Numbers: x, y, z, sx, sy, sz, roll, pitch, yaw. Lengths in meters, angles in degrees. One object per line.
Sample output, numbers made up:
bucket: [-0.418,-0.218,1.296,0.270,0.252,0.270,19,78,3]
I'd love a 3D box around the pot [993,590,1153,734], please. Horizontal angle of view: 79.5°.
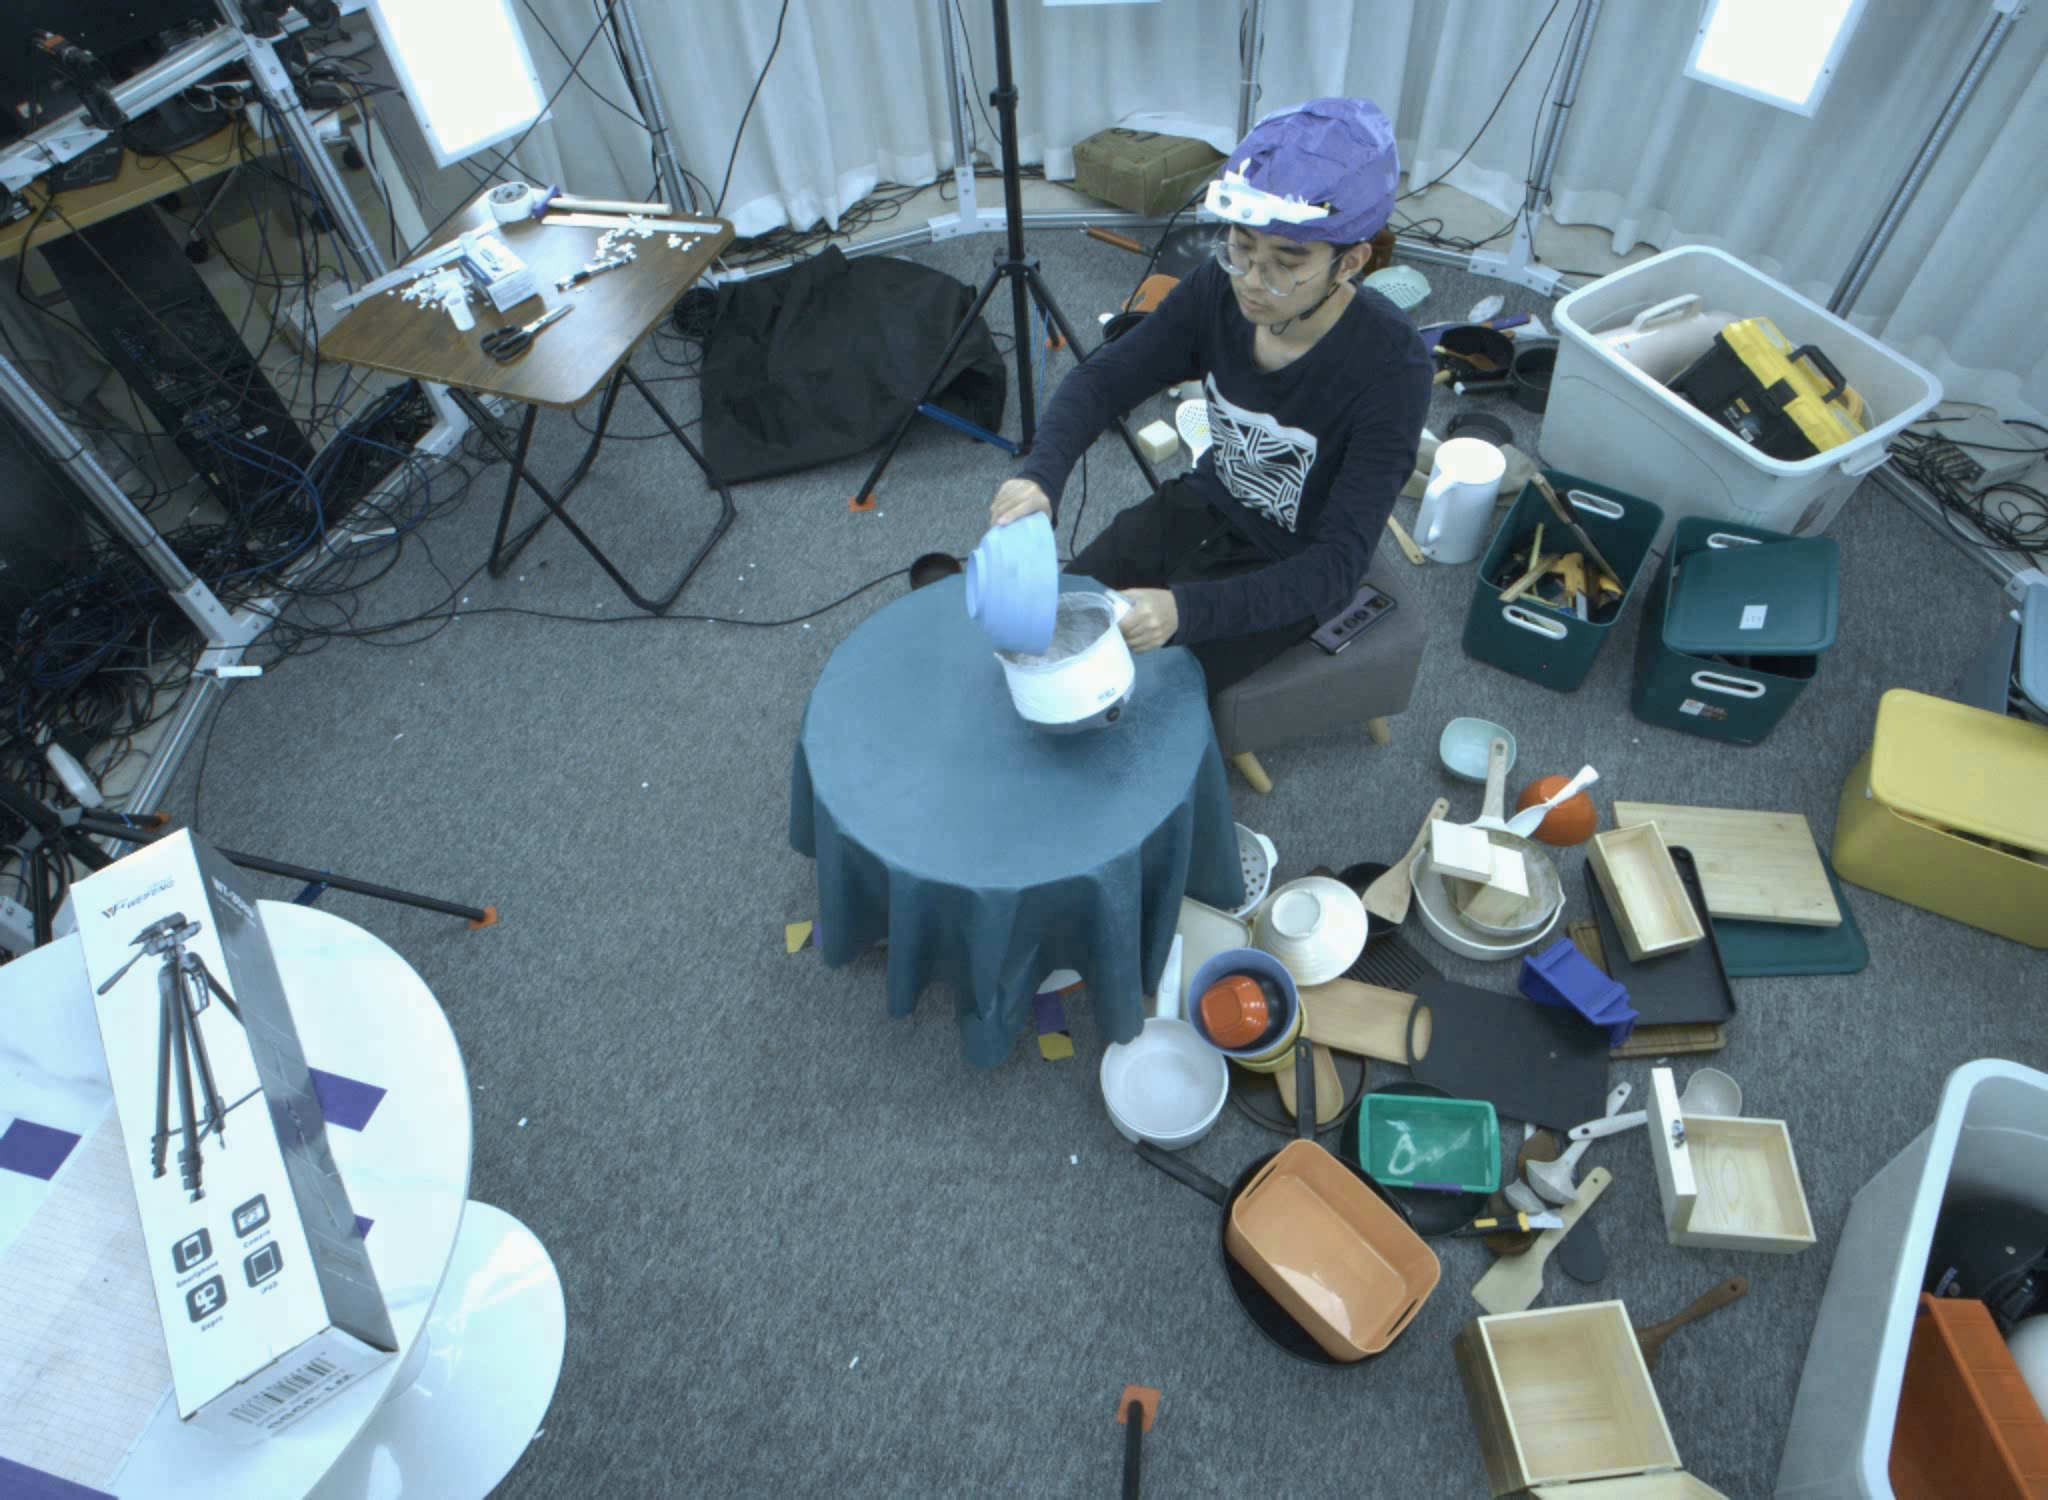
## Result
pot: [0.081,-0.135,1.746,0.235,0.139,0.174,-37,43,-20]

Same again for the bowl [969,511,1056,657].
bowl: [-0.022,-0.224,1.654,0.096,0.197,0.194,-1,54,-10]
